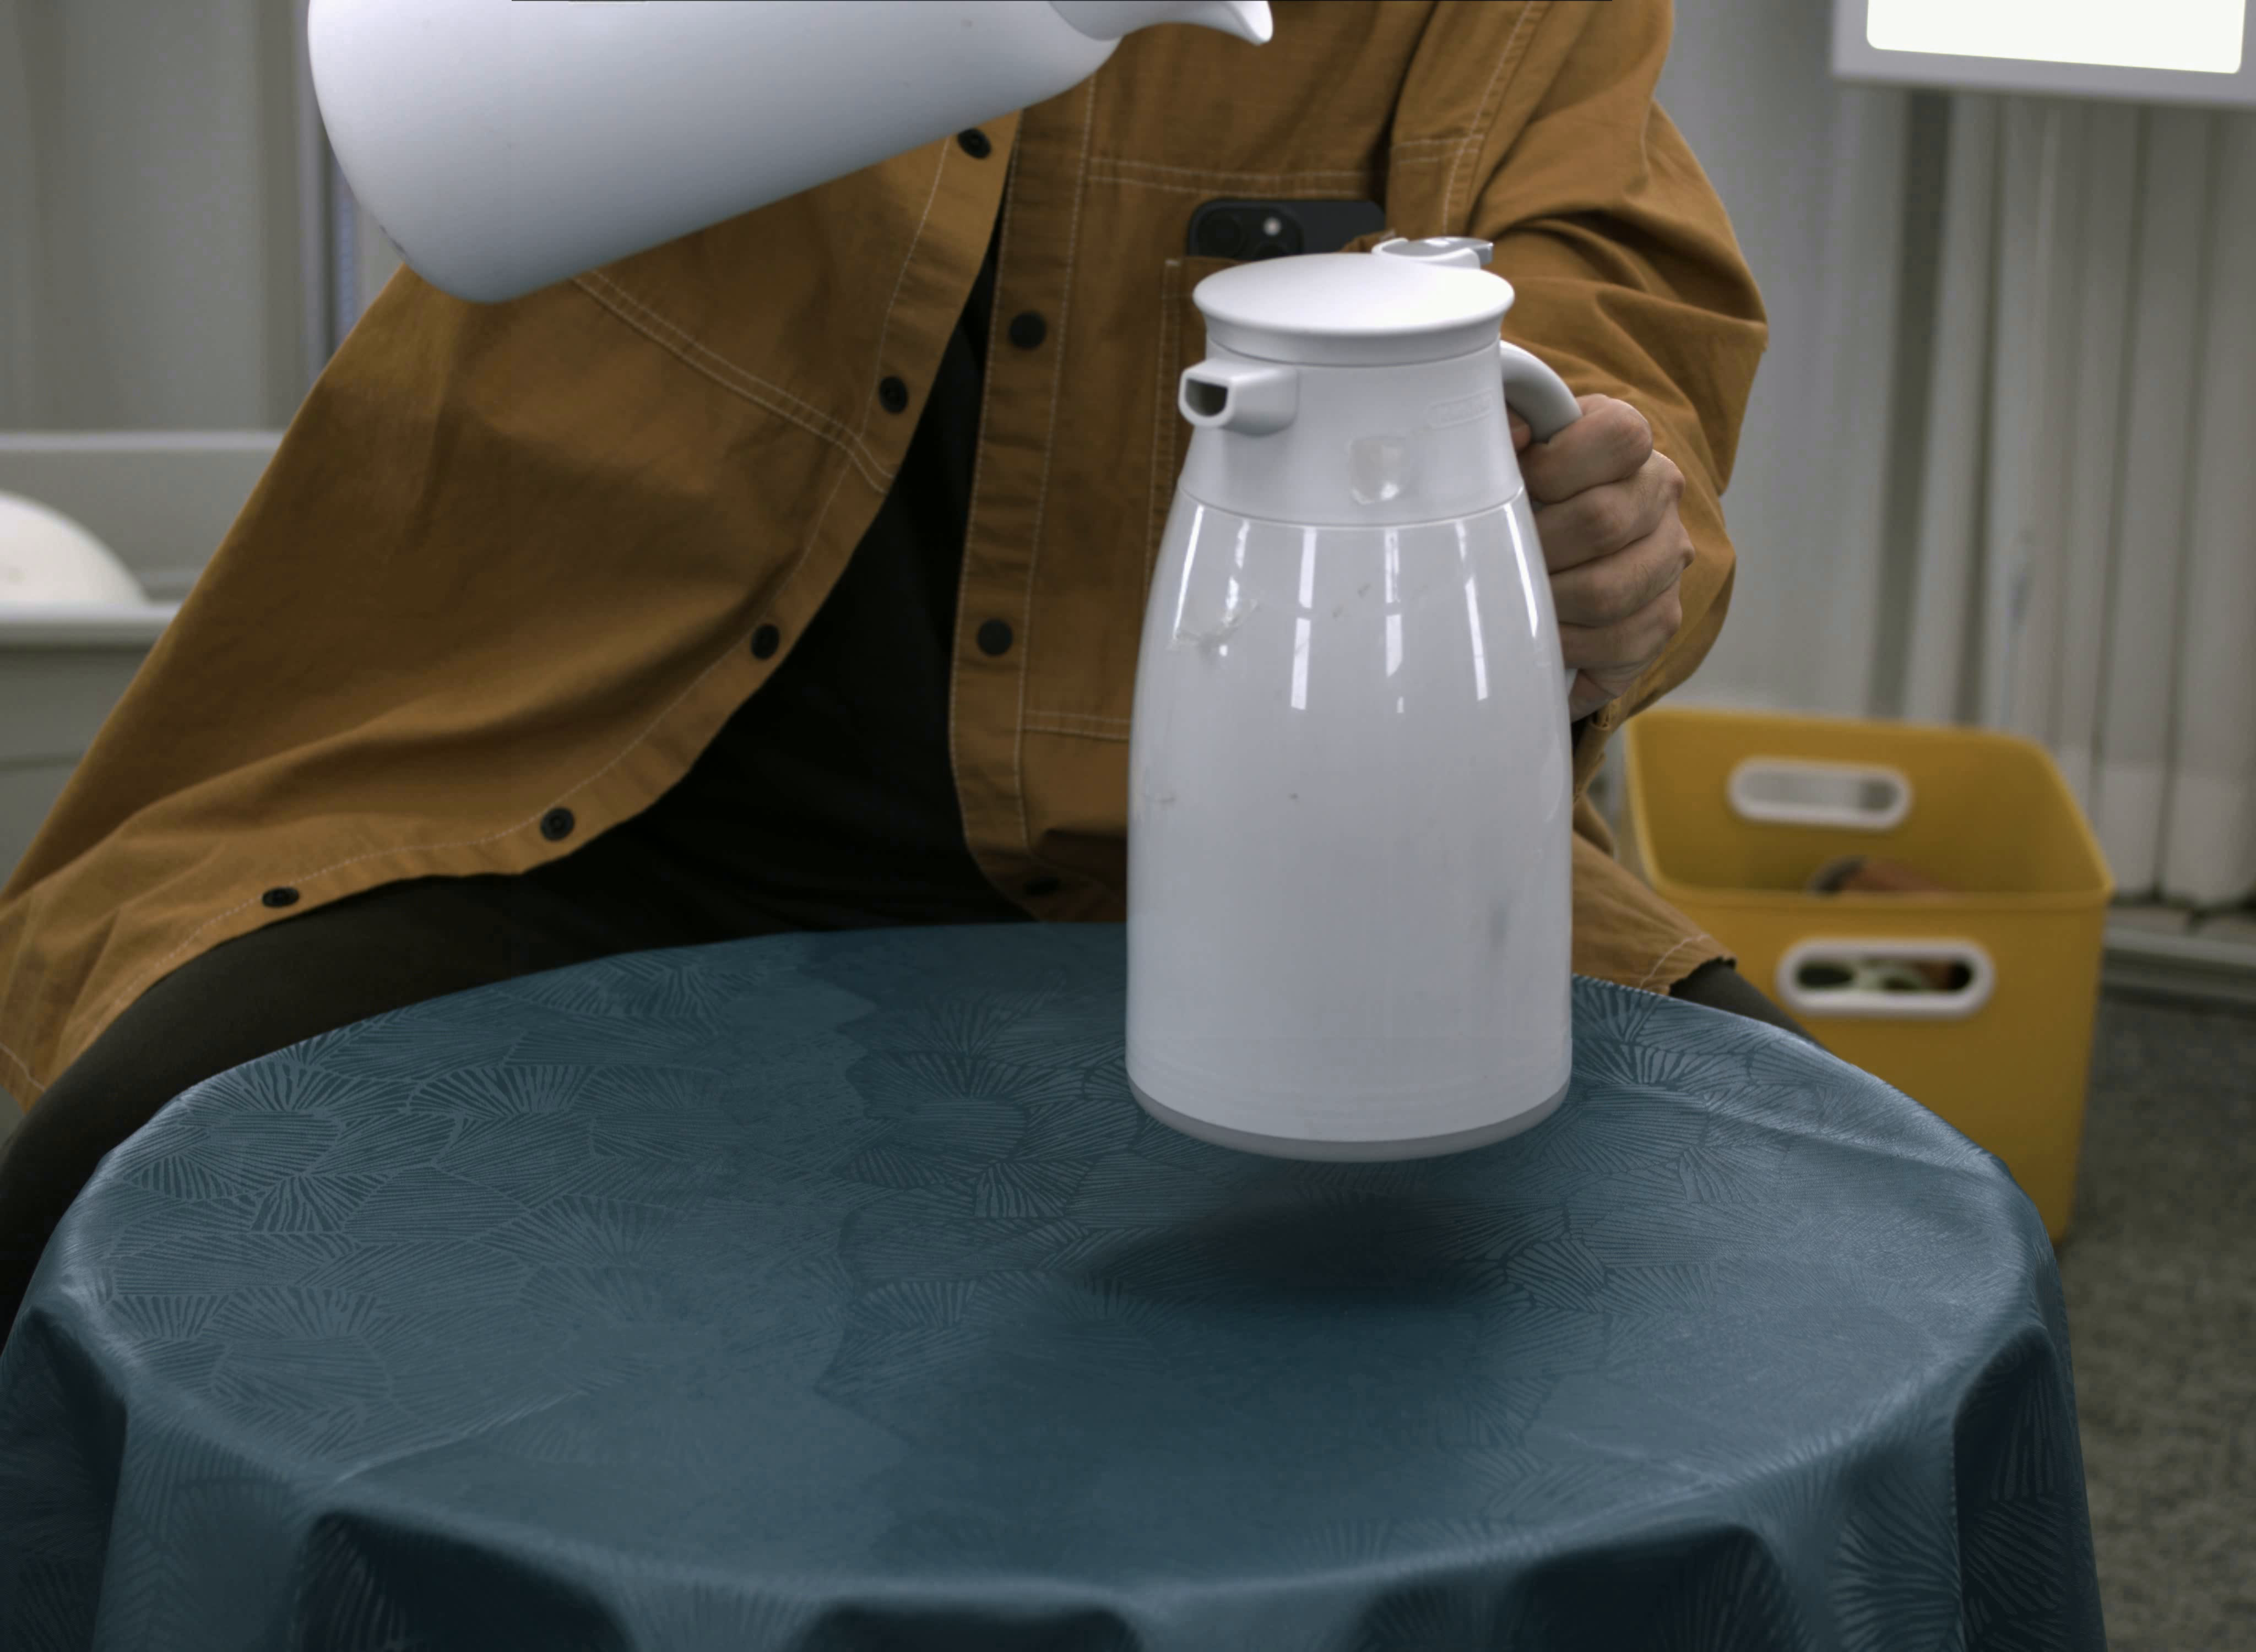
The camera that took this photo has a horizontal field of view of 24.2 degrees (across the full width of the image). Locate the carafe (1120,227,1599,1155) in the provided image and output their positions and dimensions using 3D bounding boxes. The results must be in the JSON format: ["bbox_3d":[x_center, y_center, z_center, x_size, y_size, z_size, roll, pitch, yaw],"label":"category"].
[{"bbox_3d":[0.076,-0.048,1.534,0.131,0.251,0.168,16,24,39],"label":"carafe"}]

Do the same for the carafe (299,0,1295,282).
[{"bbox_3d":[-0.104,-0.261,1.486,0.267,0.175,0.123,-15,26,24],"label":"carafe"}]
